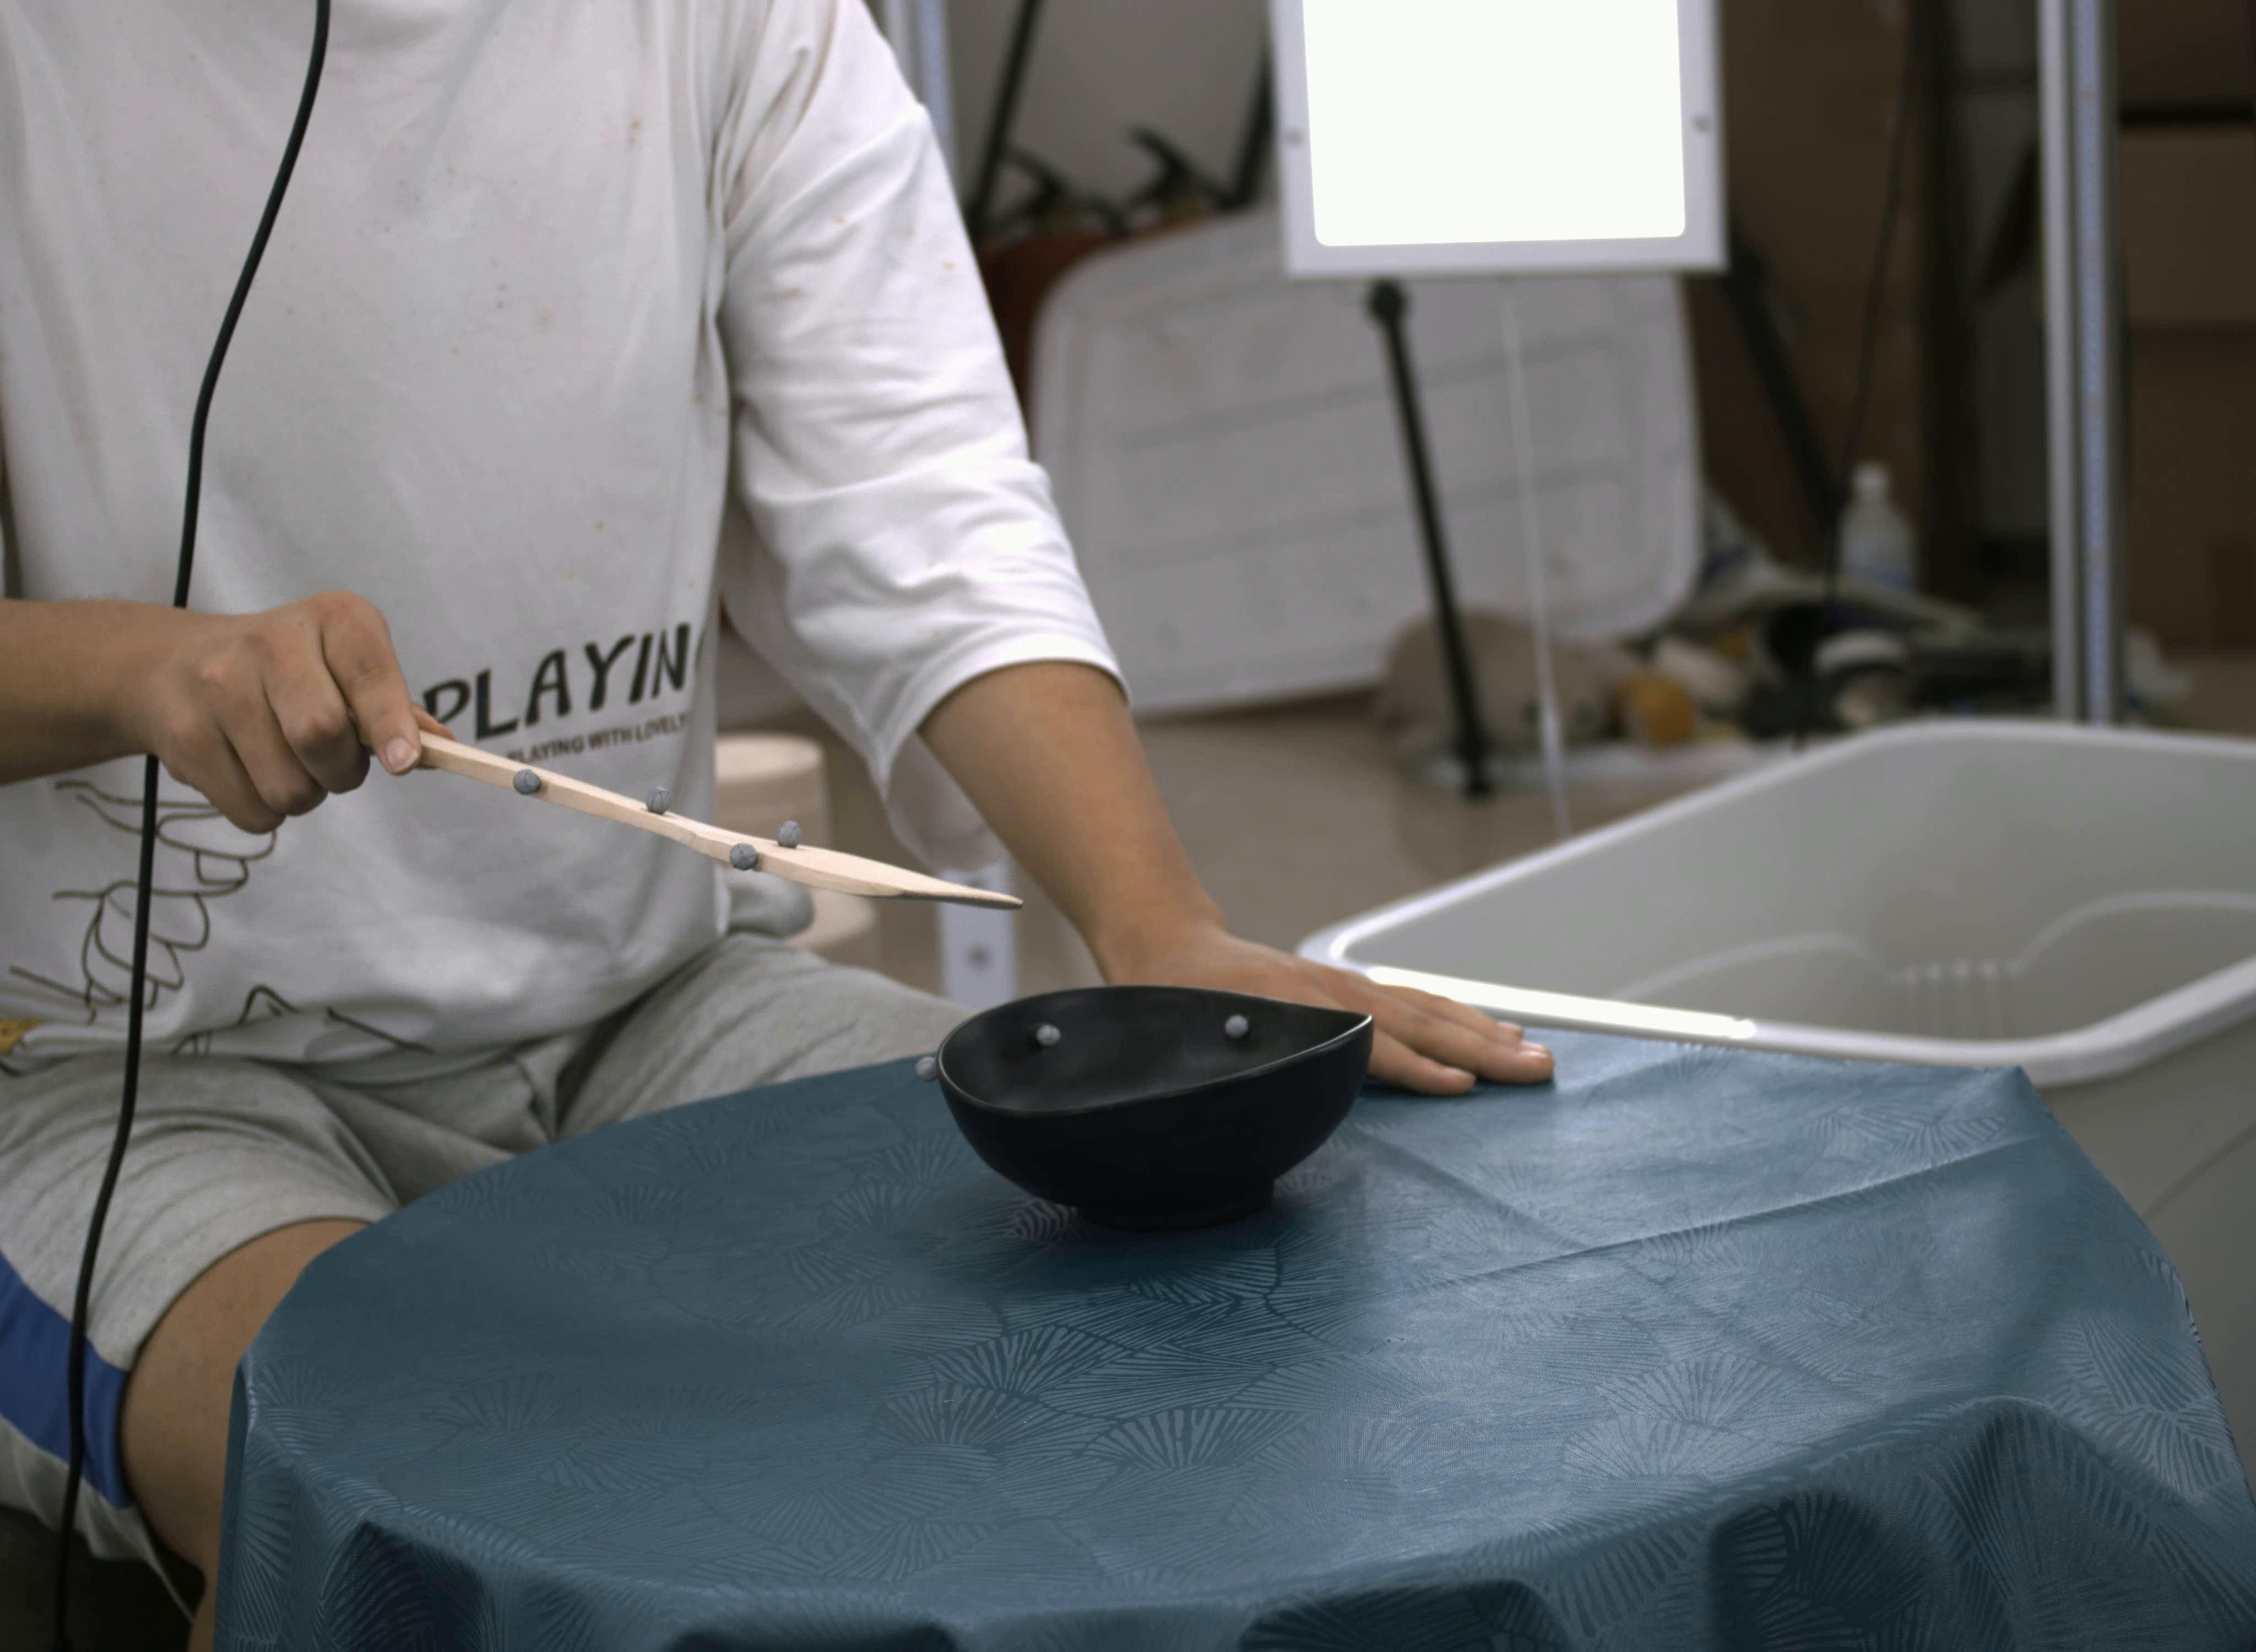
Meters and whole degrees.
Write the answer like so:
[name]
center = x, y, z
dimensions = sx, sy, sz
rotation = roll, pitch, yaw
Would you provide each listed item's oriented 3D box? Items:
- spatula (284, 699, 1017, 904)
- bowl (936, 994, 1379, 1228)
[spatula]
center = -0.169, -0.008, 1.806
dimensions = 0.299, 0.011, 0.070
rotation = 15, 6, 36
[bowl]
center = 0.013, 0.098, 1.878
dimensions = 0.140, 0.067, 0.166
rotation = 6, 15, 40
